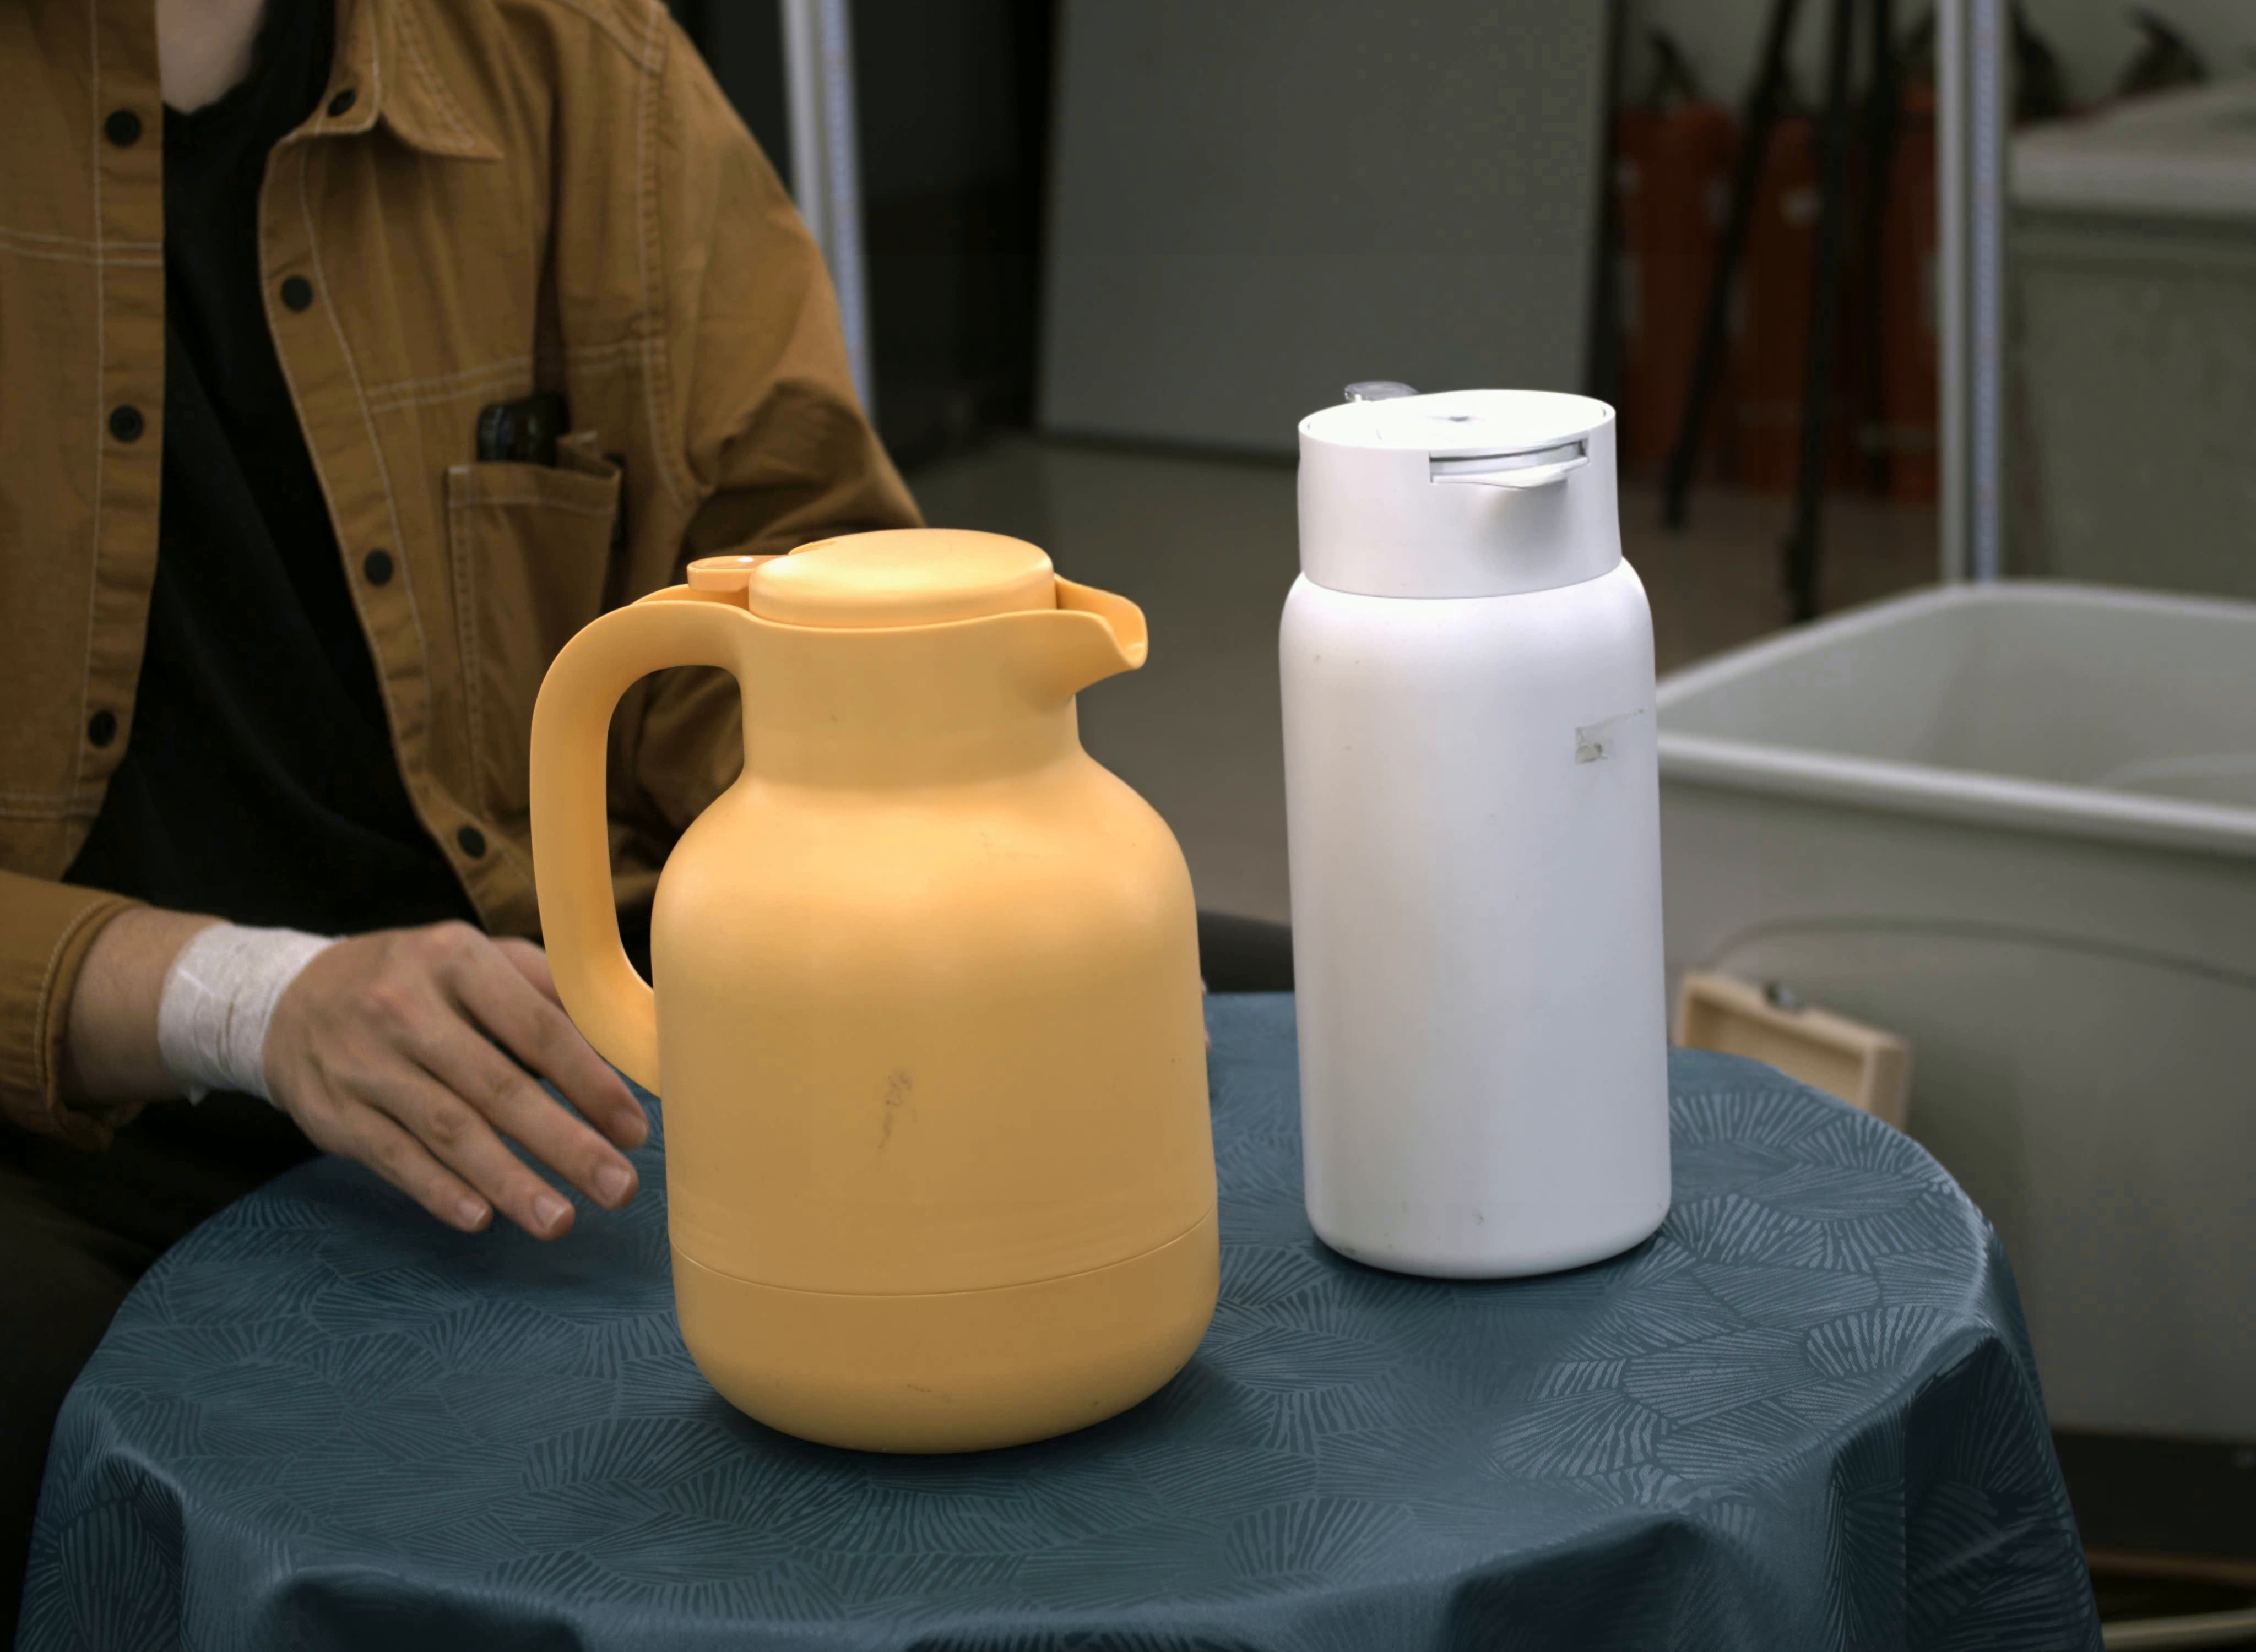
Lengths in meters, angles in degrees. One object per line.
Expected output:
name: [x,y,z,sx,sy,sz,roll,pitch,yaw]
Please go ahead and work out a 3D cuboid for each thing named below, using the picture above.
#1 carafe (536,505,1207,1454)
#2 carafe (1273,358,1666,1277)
carafe: [-0.077,0.039,1.578,0.203,0.263,0.161,4,12,25]
carafe: [0.099,-0.006,1.695,0.121,0.272,0.174,-10,15,-18]
